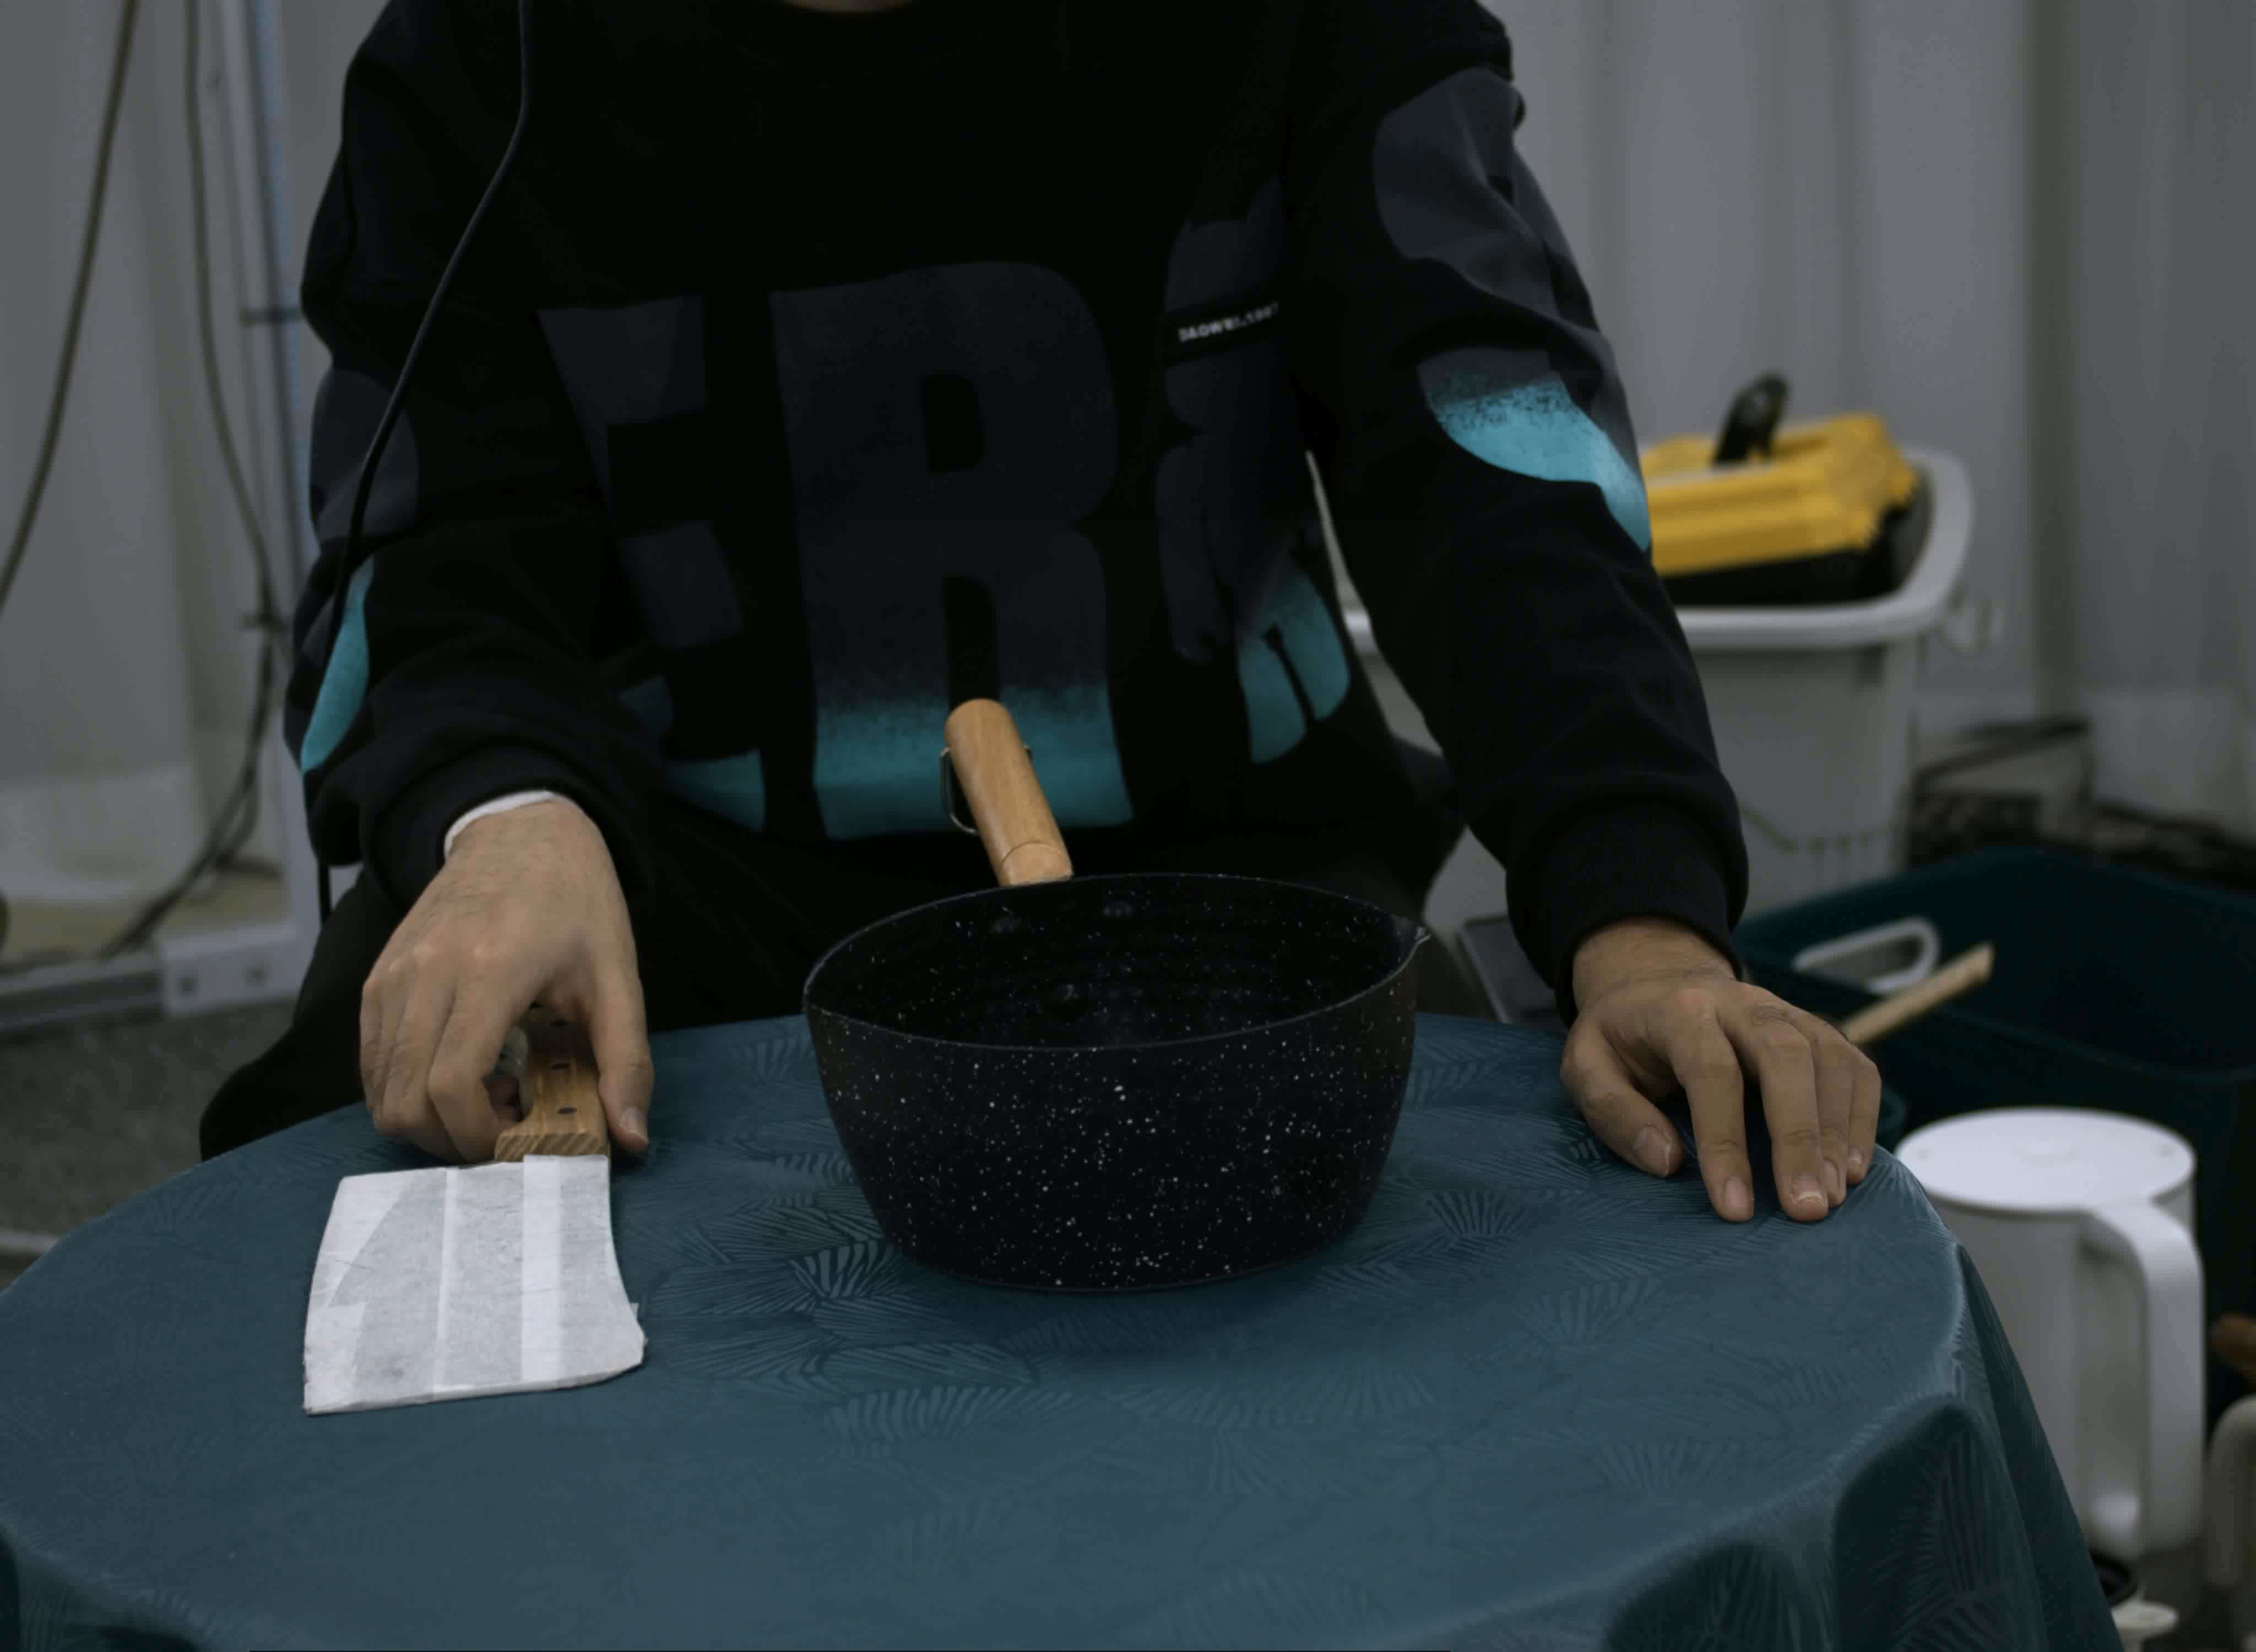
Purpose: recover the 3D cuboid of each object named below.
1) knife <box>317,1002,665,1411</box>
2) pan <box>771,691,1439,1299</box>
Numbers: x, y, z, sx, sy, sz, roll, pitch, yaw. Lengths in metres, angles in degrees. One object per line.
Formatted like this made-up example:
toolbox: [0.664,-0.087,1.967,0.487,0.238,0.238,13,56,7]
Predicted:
knife: [-0.195,0.117,1.710,0.113,0.021,0.318,-4,18,-1]
pan: [-0.020,0.049,1.755,0.206,0.108,0.346,-7,17,-11]
